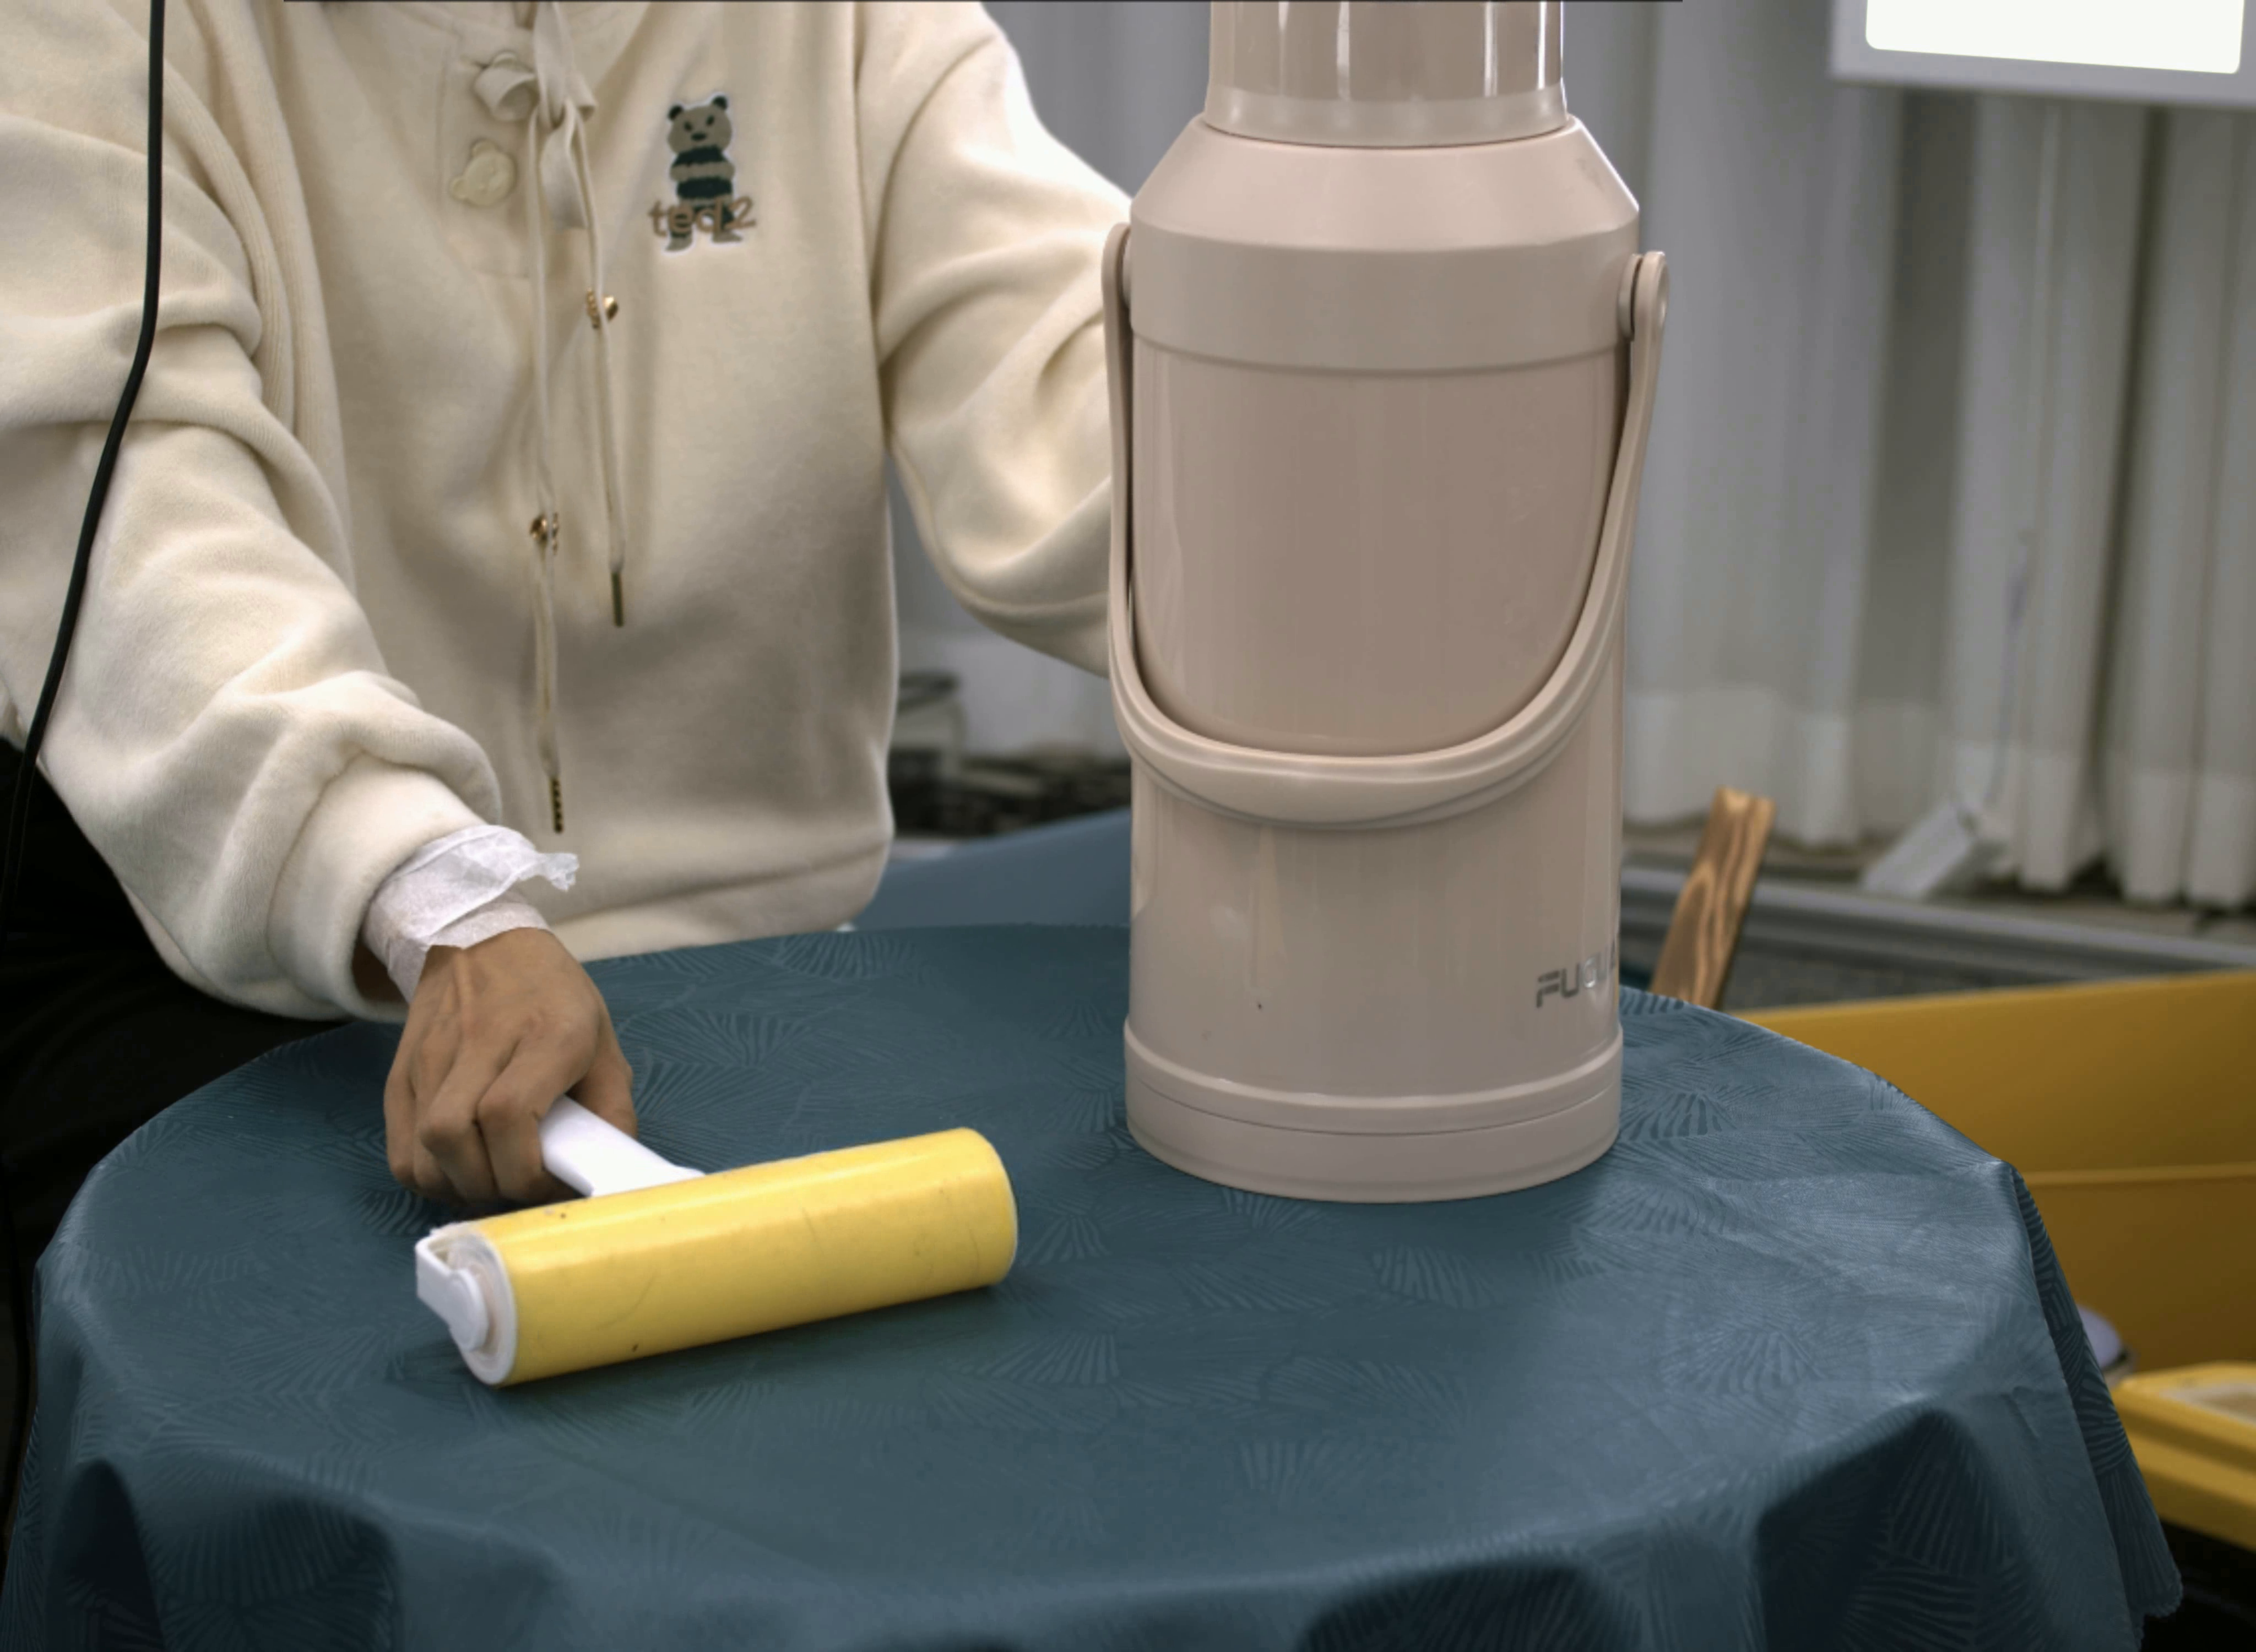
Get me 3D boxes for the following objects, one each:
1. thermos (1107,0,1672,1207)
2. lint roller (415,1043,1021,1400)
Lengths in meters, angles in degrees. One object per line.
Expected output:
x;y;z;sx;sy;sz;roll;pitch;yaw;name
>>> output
0.084;-0.099;1.641;0.174;0.409;0.207;5;17;17;thermos
-0.149;0.095;1.545;0.175;0.052;0.189;-9;32;-32;lint roller
